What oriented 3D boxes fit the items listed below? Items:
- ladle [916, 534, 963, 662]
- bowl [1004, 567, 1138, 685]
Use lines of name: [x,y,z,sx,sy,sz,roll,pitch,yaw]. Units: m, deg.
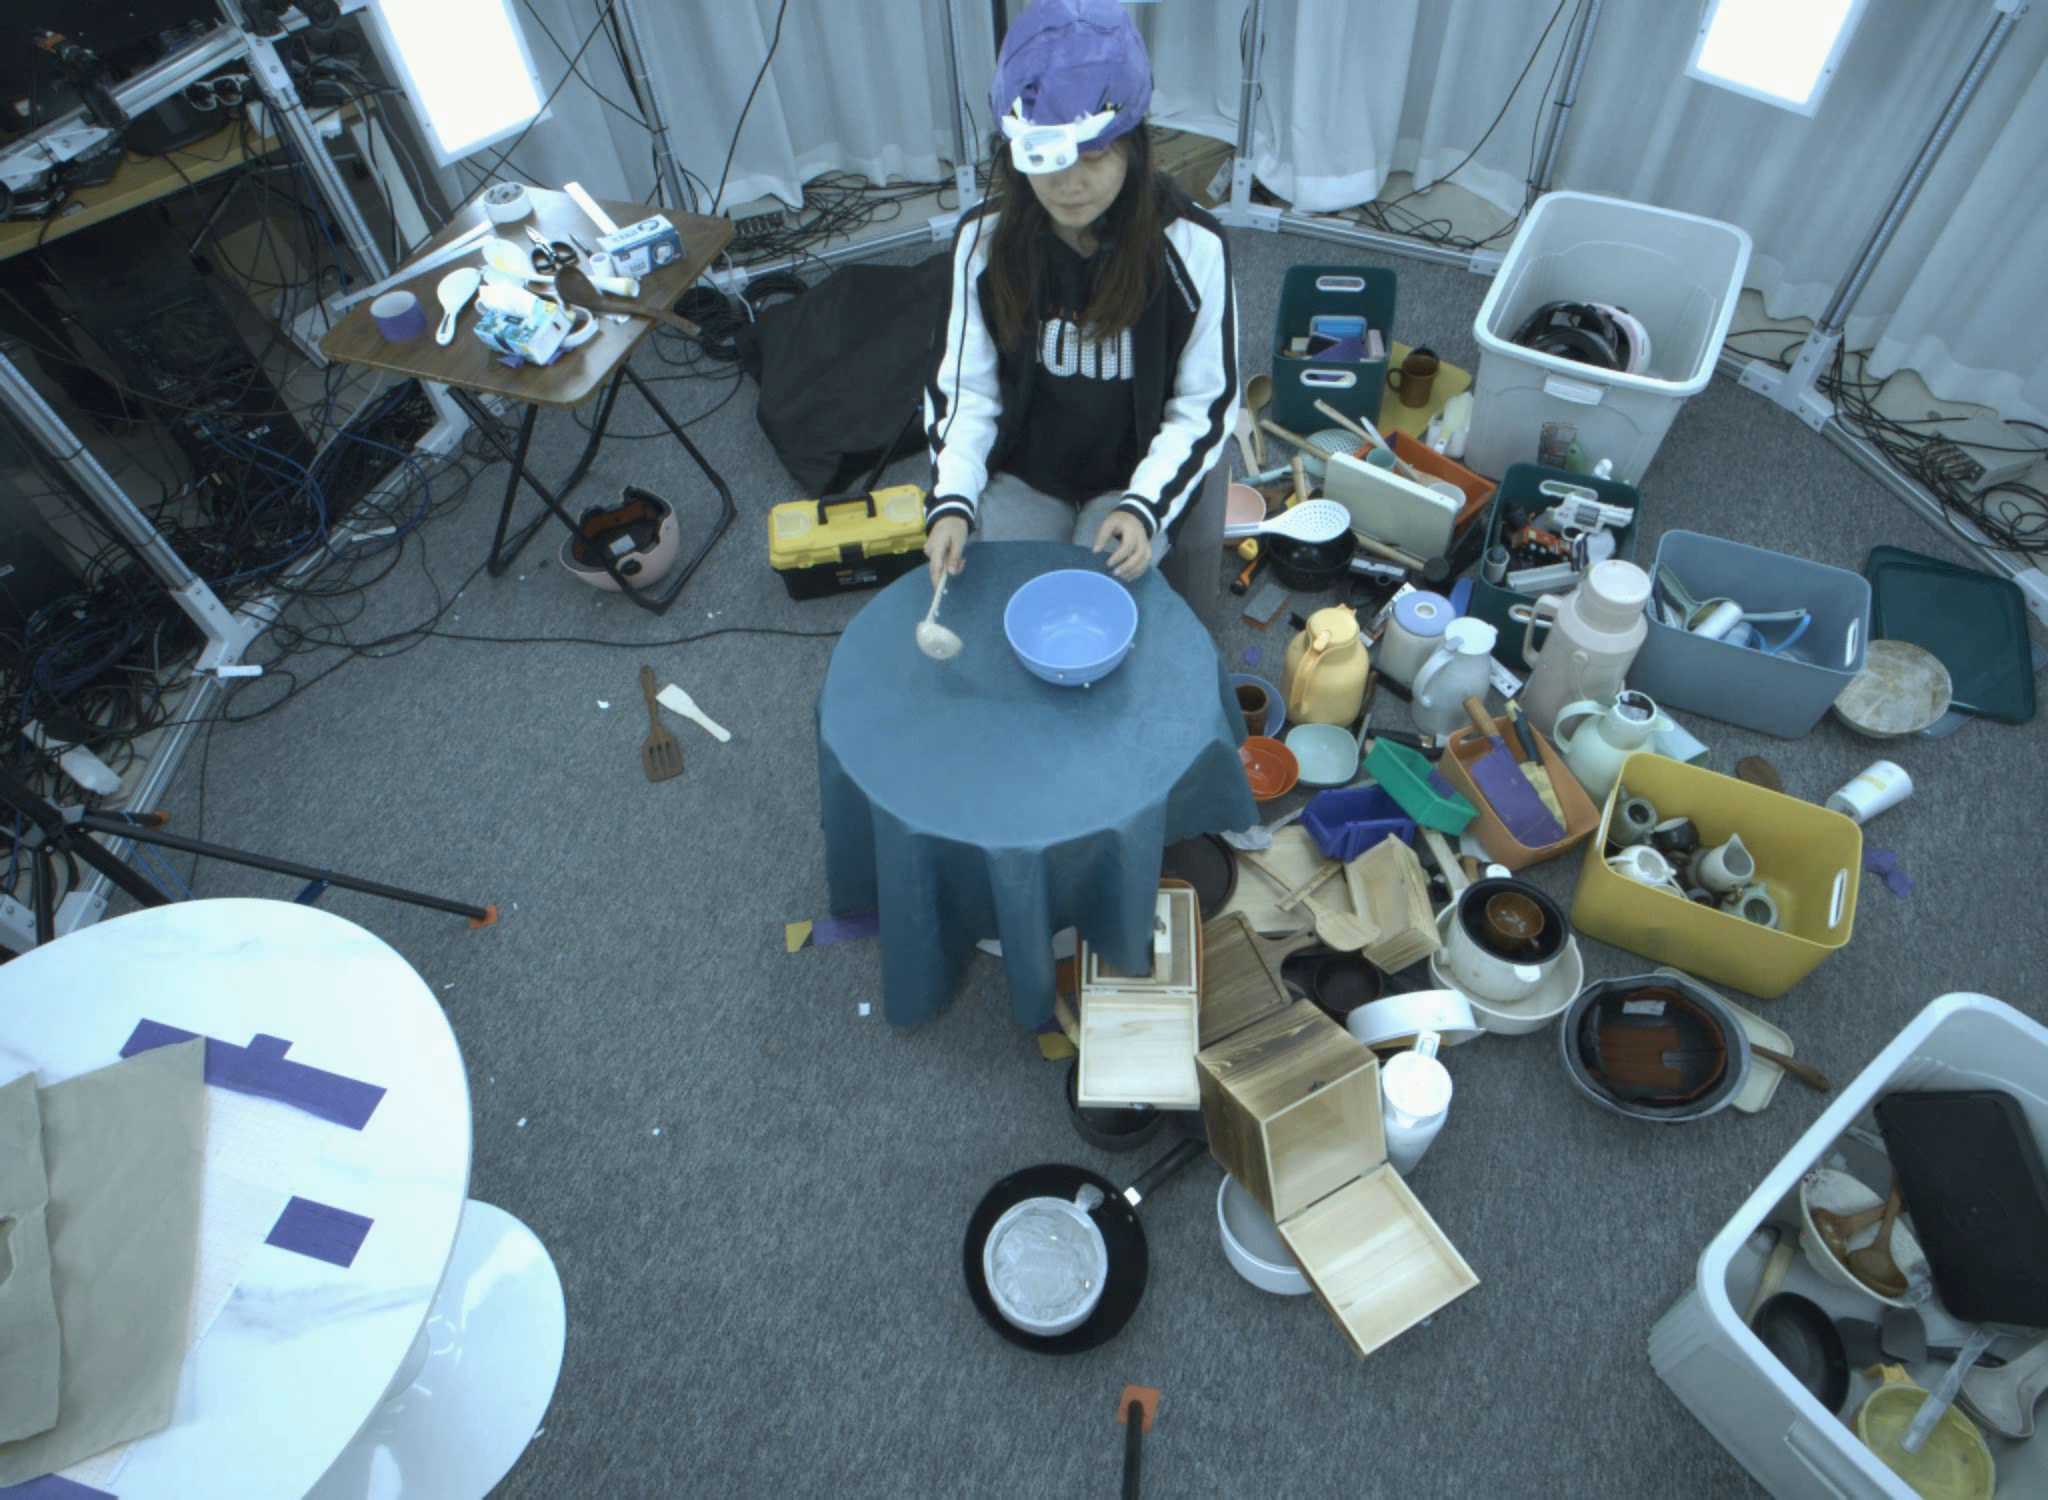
ladle: [-0.112,-0.245,1.857,0.071,0.074,0.252,-17,50,35]
bowl: [0.071,-0.171,1.846,0.196,0.096,0.194,0,57,2]
